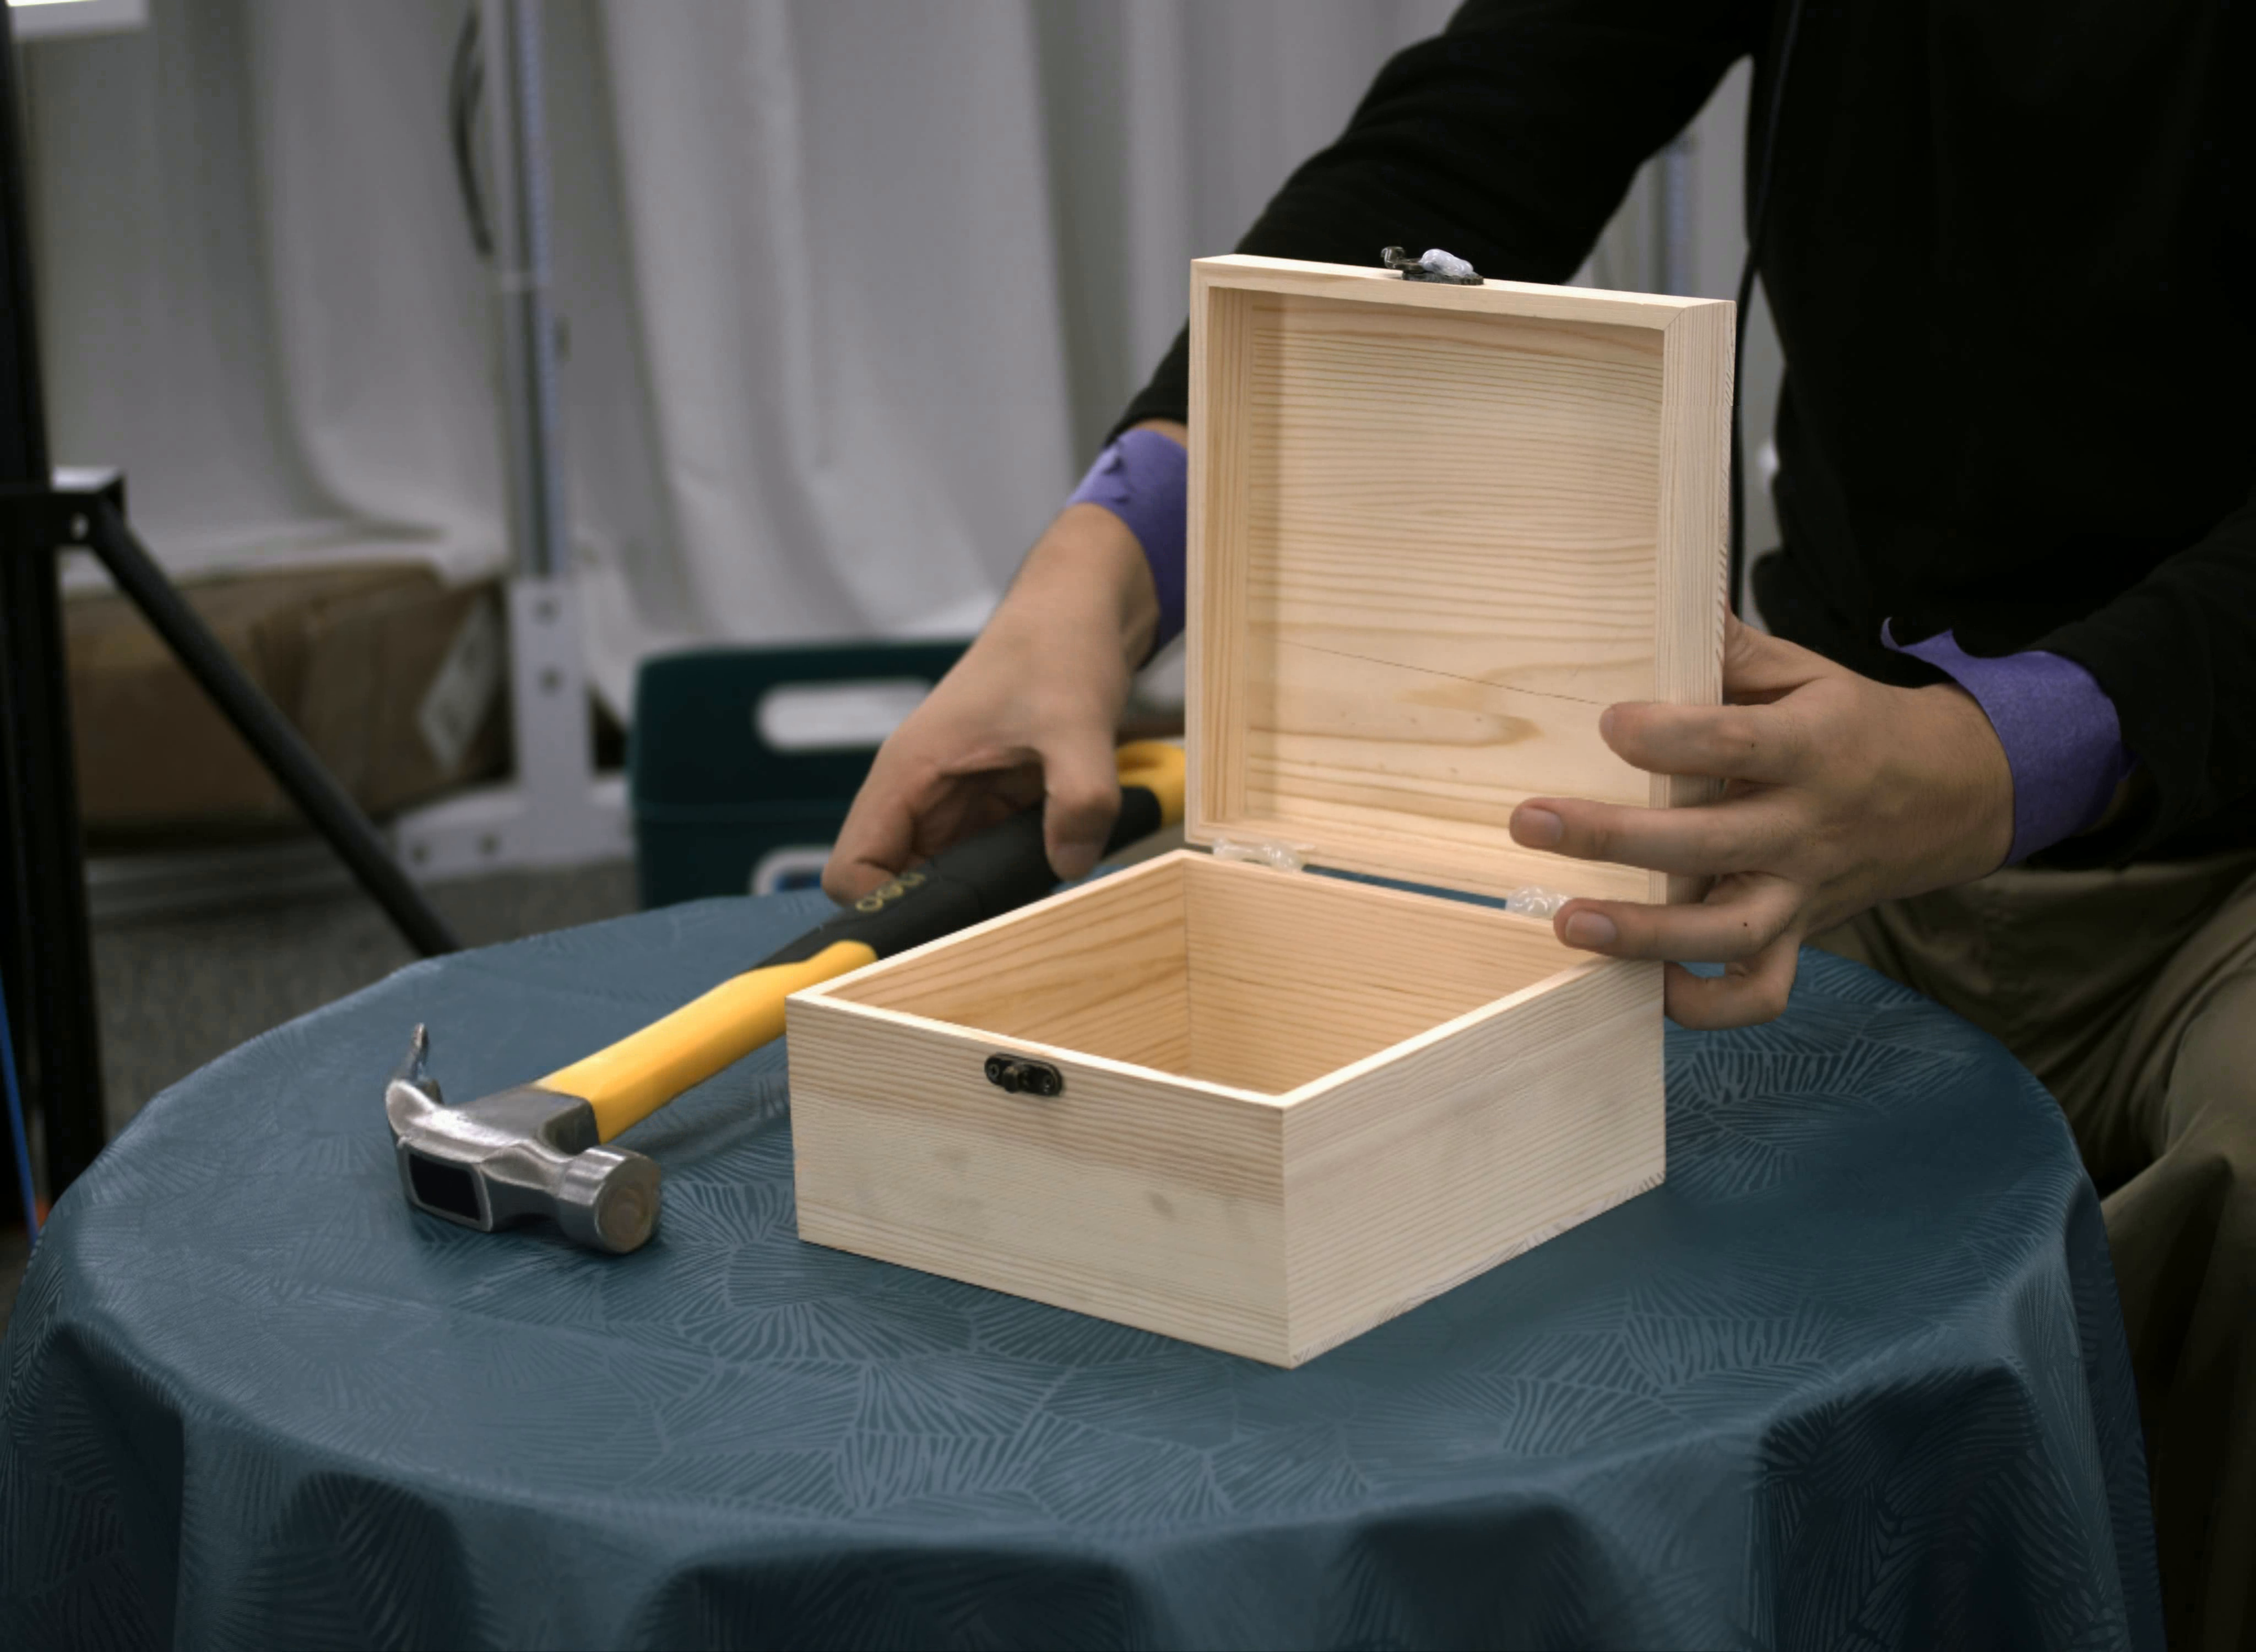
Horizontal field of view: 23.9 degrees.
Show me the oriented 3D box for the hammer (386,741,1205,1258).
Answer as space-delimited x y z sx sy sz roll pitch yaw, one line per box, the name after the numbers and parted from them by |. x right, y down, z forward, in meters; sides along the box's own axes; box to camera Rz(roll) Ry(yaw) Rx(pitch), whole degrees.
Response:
-0.092 0.043 1.664 0.134 0.032 0.332 11 29 41 | hammer

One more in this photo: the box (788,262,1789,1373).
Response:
0.047 -0.015 1.527 0.185 0.253 0.259 8 18 39 | box
